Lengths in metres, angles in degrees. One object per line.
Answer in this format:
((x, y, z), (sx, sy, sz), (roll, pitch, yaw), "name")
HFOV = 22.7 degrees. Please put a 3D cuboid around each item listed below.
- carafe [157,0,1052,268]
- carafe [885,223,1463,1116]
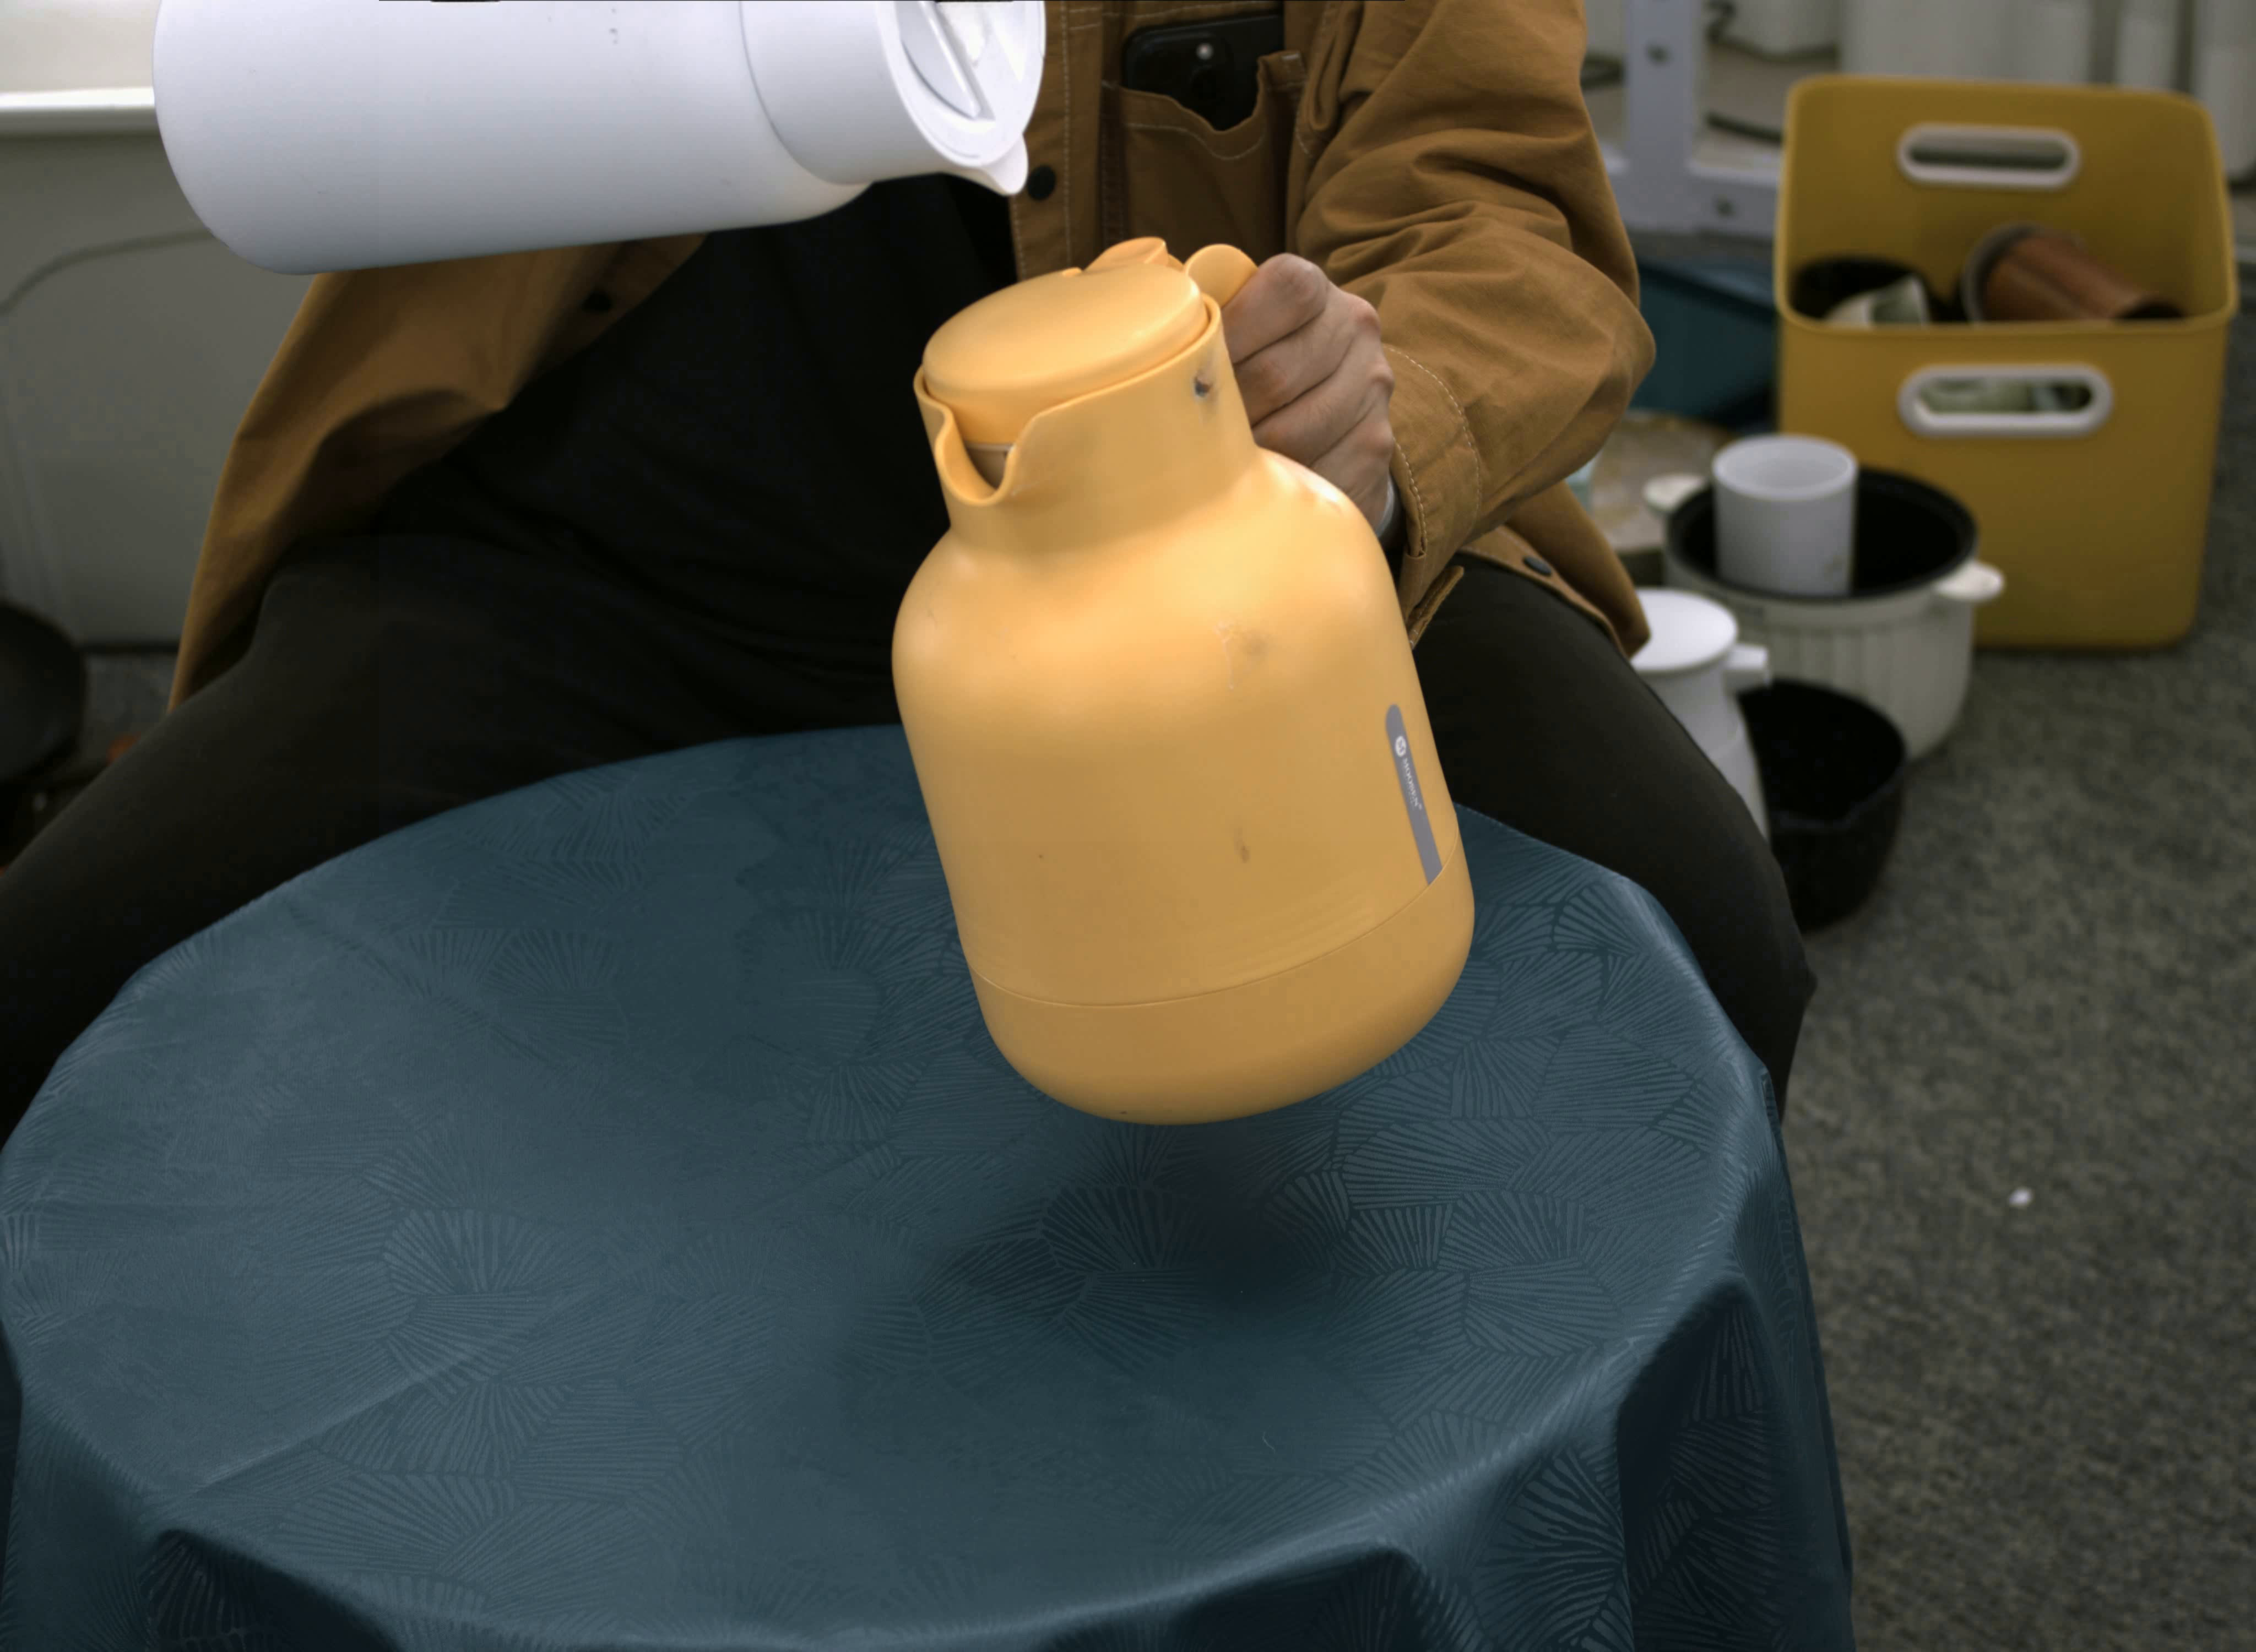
((-0.169, -0.253, 1.727), (0.266, 0.171, 0.126), (-2, 44, 31), "carafe")
((0.016, -0.059, 1.779), (0.162, 0.258, 0.206), (2, 29, 28), "carafe")
